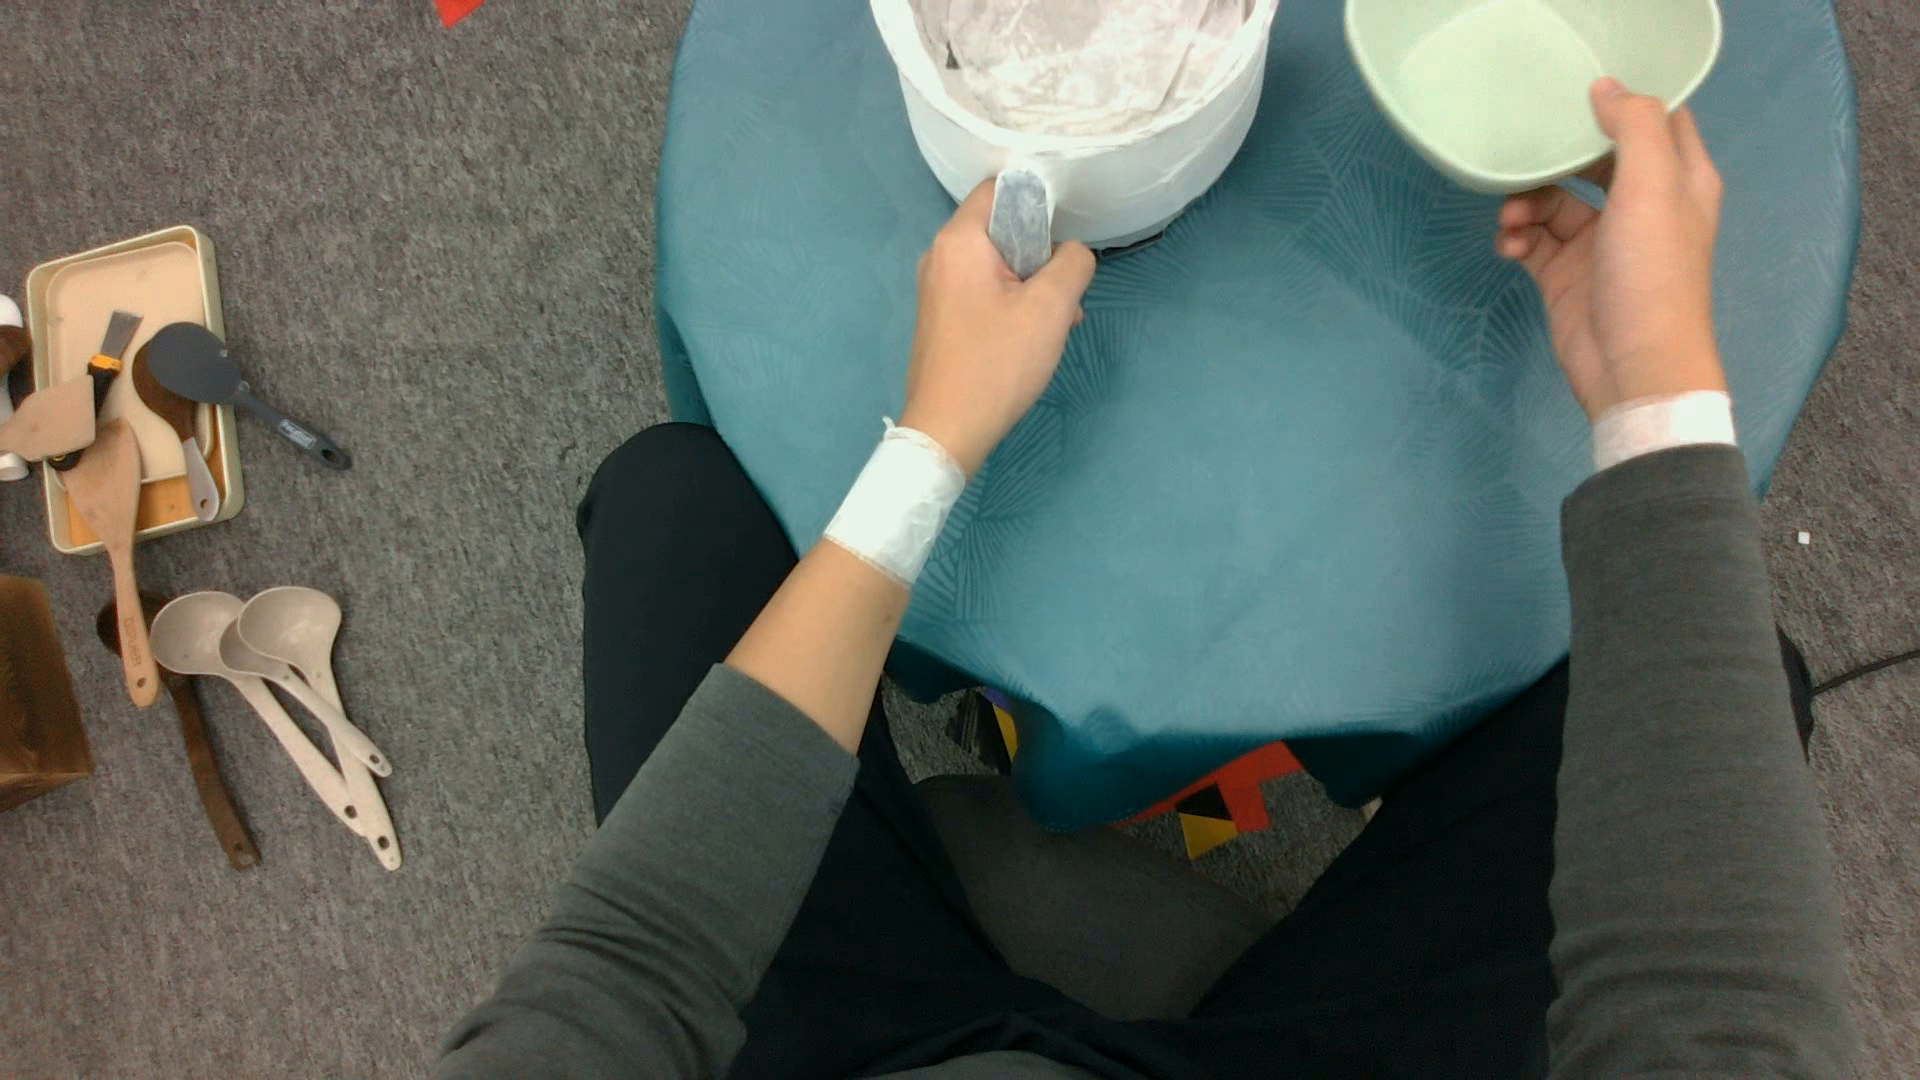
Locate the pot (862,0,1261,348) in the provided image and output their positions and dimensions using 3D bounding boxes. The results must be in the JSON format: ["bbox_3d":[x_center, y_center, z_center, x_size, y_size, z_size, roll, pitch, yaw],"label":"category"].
[{"bbox_3d":[0.045,-0.213,0.647,0.178,0.136,0.234,11,82,8],"label":"pot"}]

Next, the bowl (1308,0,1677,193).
[{"bbox_3d":[0.234,-0.214,0.620,0.151,0.058,0.152,-5,69,13],"label":"bowl"}]
